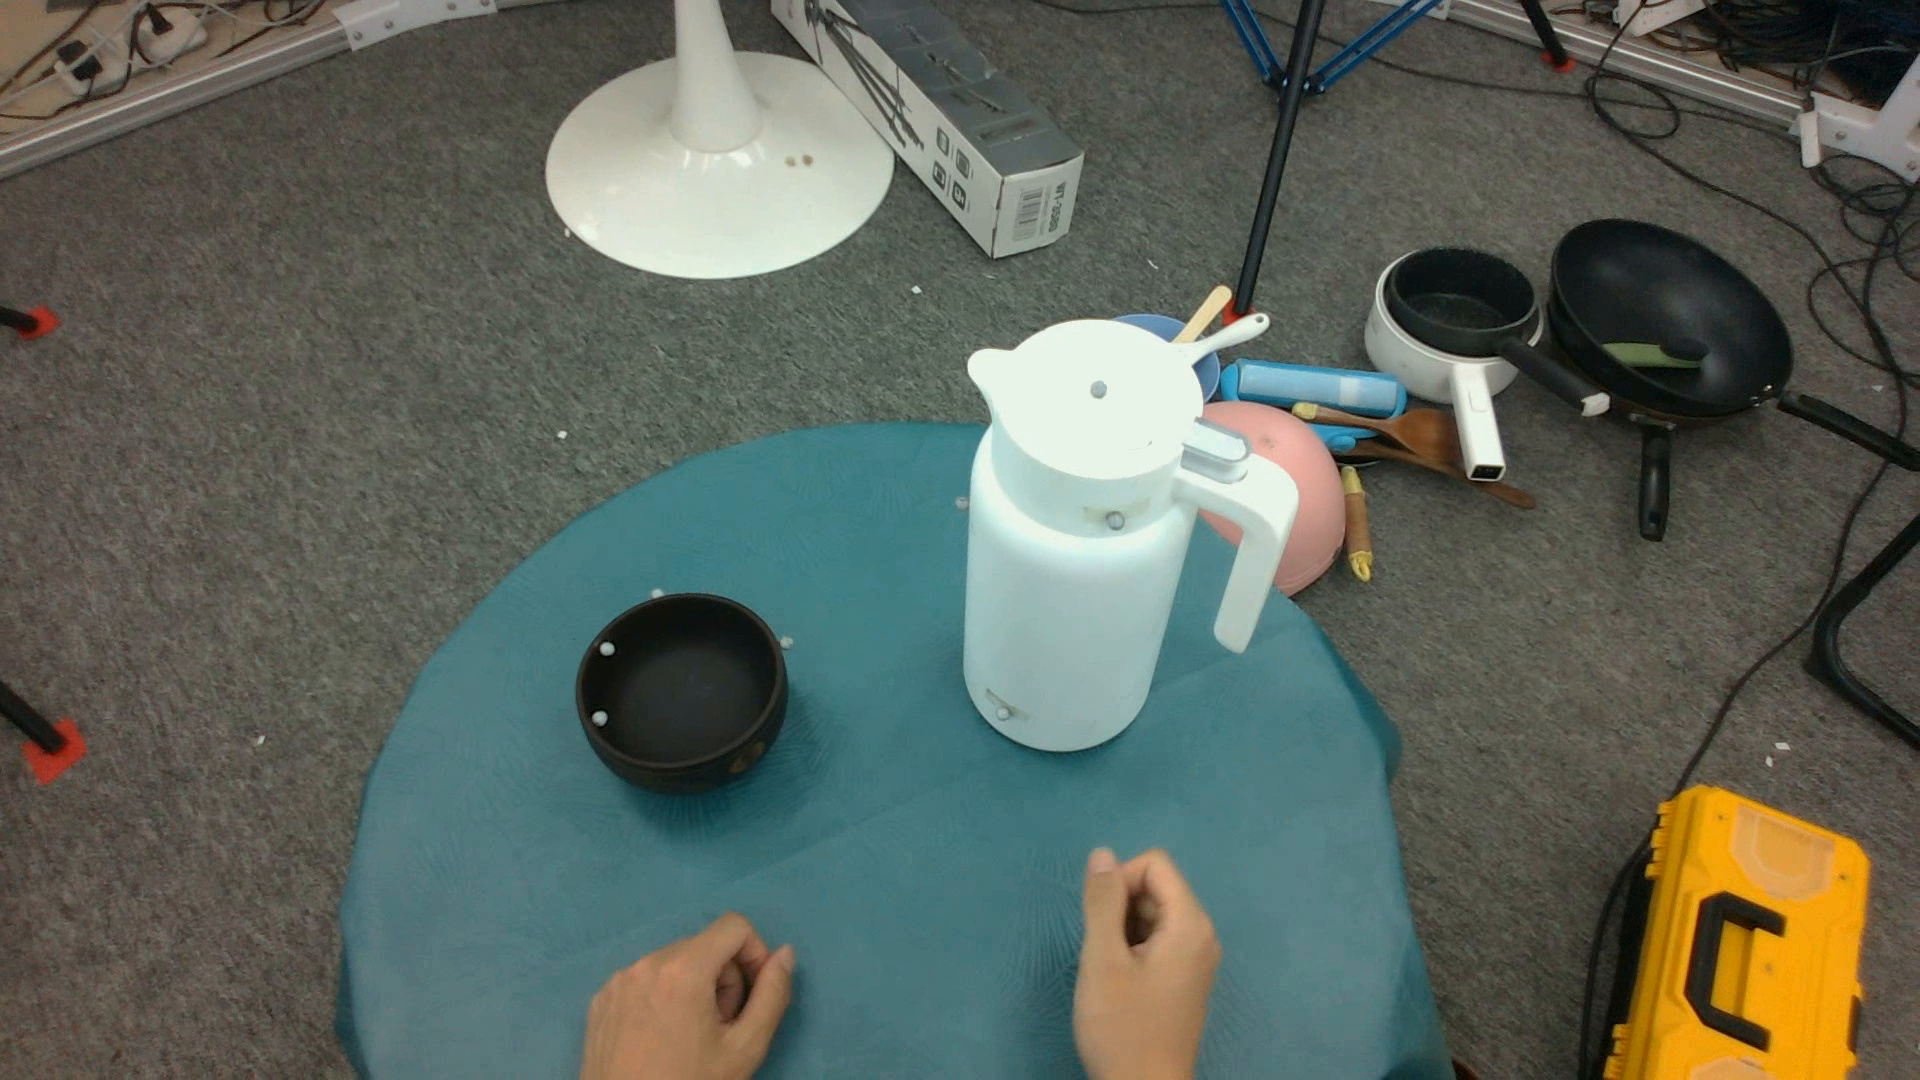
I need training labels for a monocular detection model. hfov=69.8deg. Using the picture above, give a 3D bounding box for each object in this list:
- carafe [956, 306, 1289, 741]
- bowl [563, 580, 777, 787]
[{"bbox_3d":[0.074,0.006,0.747,0.173,0.267,0.124,22,55,13],"label":"carafe"},{"bbox_3d":[-0.164,0.089,0.795,0.118,0.069,0.118,2,55,-2],"label":"bowl"}]
